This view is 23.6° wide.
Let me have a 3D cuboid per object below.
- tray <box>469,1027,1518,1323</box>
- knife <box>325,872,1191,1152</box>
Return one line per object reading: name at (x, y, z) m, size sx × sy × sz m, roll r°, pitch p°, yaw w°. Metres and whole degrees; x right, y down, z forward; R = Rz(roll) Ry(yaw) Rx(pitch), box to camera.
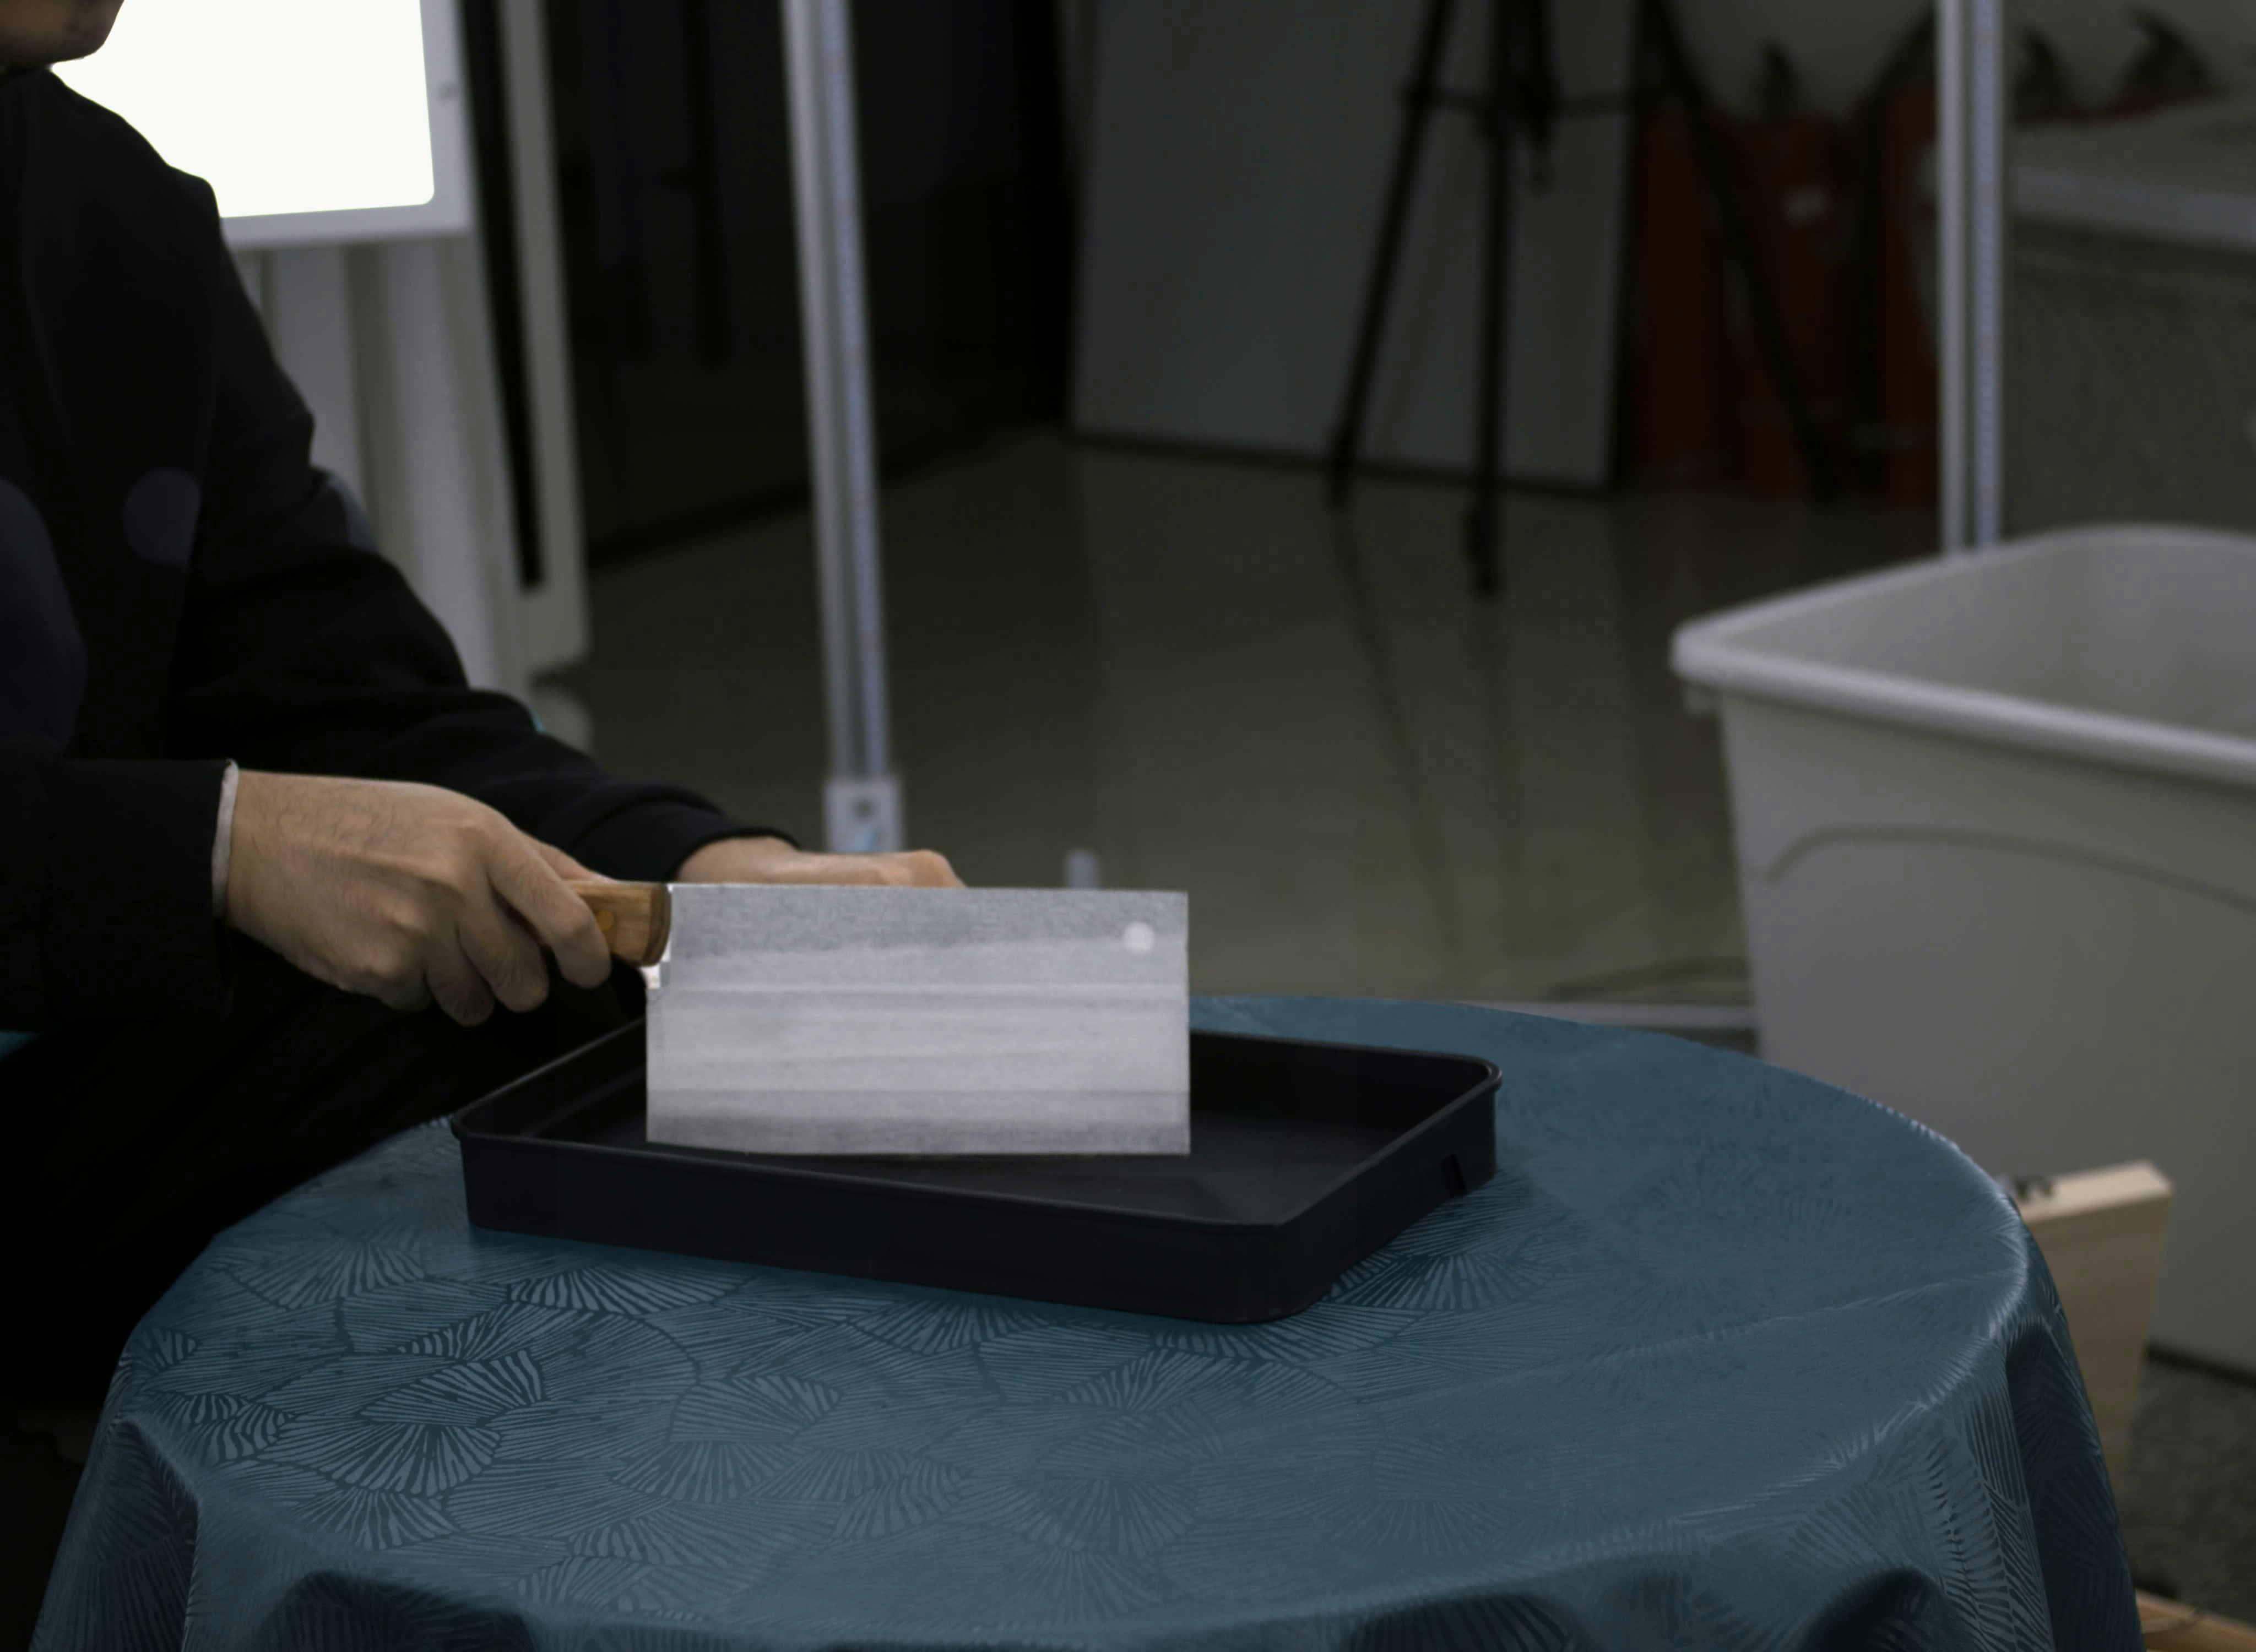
tray at (-0.043, 0.106, 1.772) m, size 0.319 × 0.037 × 0.182 m, roll 3°, pitch 16°, yaw 28°
knife at (-0.126, 0.062, 1.805) m, size 0.304 × 0.094 × 0.021 m, roll 0°, pitch 4°, yaw 16°
